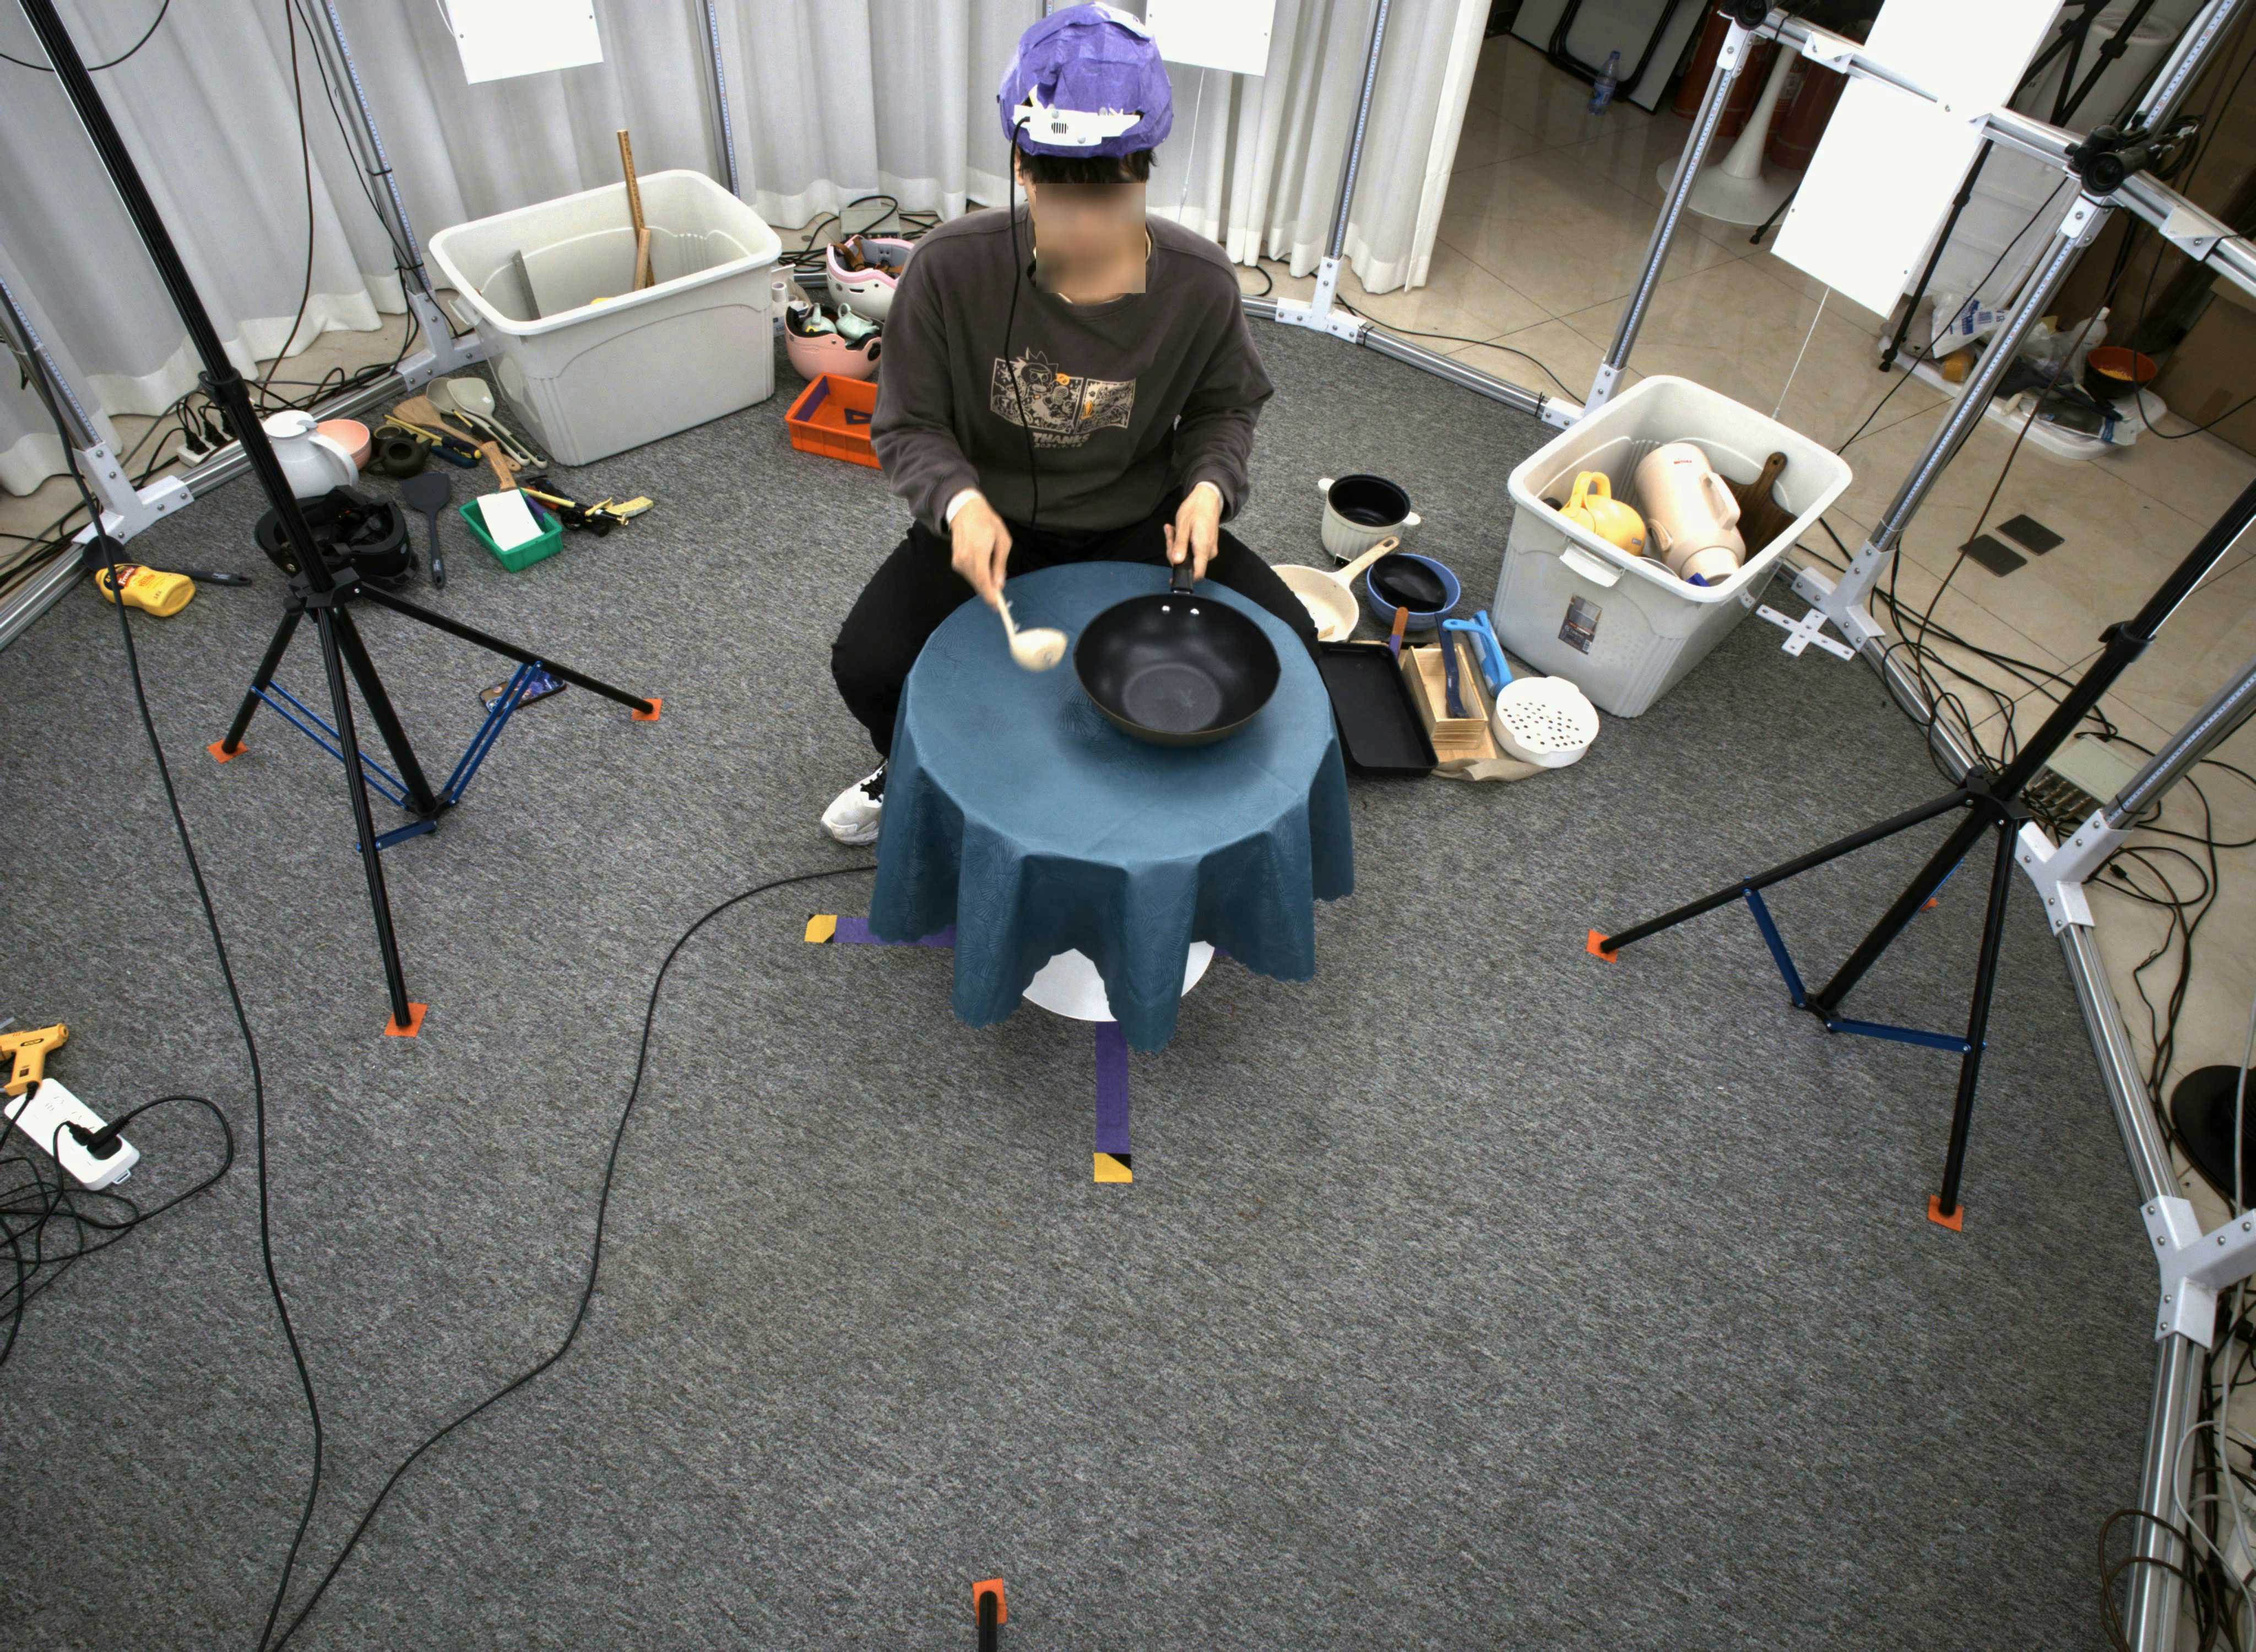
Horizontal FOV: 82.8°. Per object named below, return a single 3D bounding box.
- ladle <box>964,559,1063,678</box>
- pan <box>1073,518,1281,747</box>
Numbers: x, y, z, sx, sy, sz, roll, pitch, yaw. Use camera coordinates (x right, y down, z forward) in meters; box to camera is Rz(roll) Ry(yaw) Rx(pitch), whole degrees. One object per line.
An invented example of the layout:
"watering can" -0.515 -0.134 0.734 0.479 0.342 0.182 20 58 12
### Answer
"ladle" -0.158 -0.302 1.731 0.071 0.072 0.260 11 41 -42
"pan" 0.073 -0.274 1.852 0.288 0.085 0.475 5 49 1
